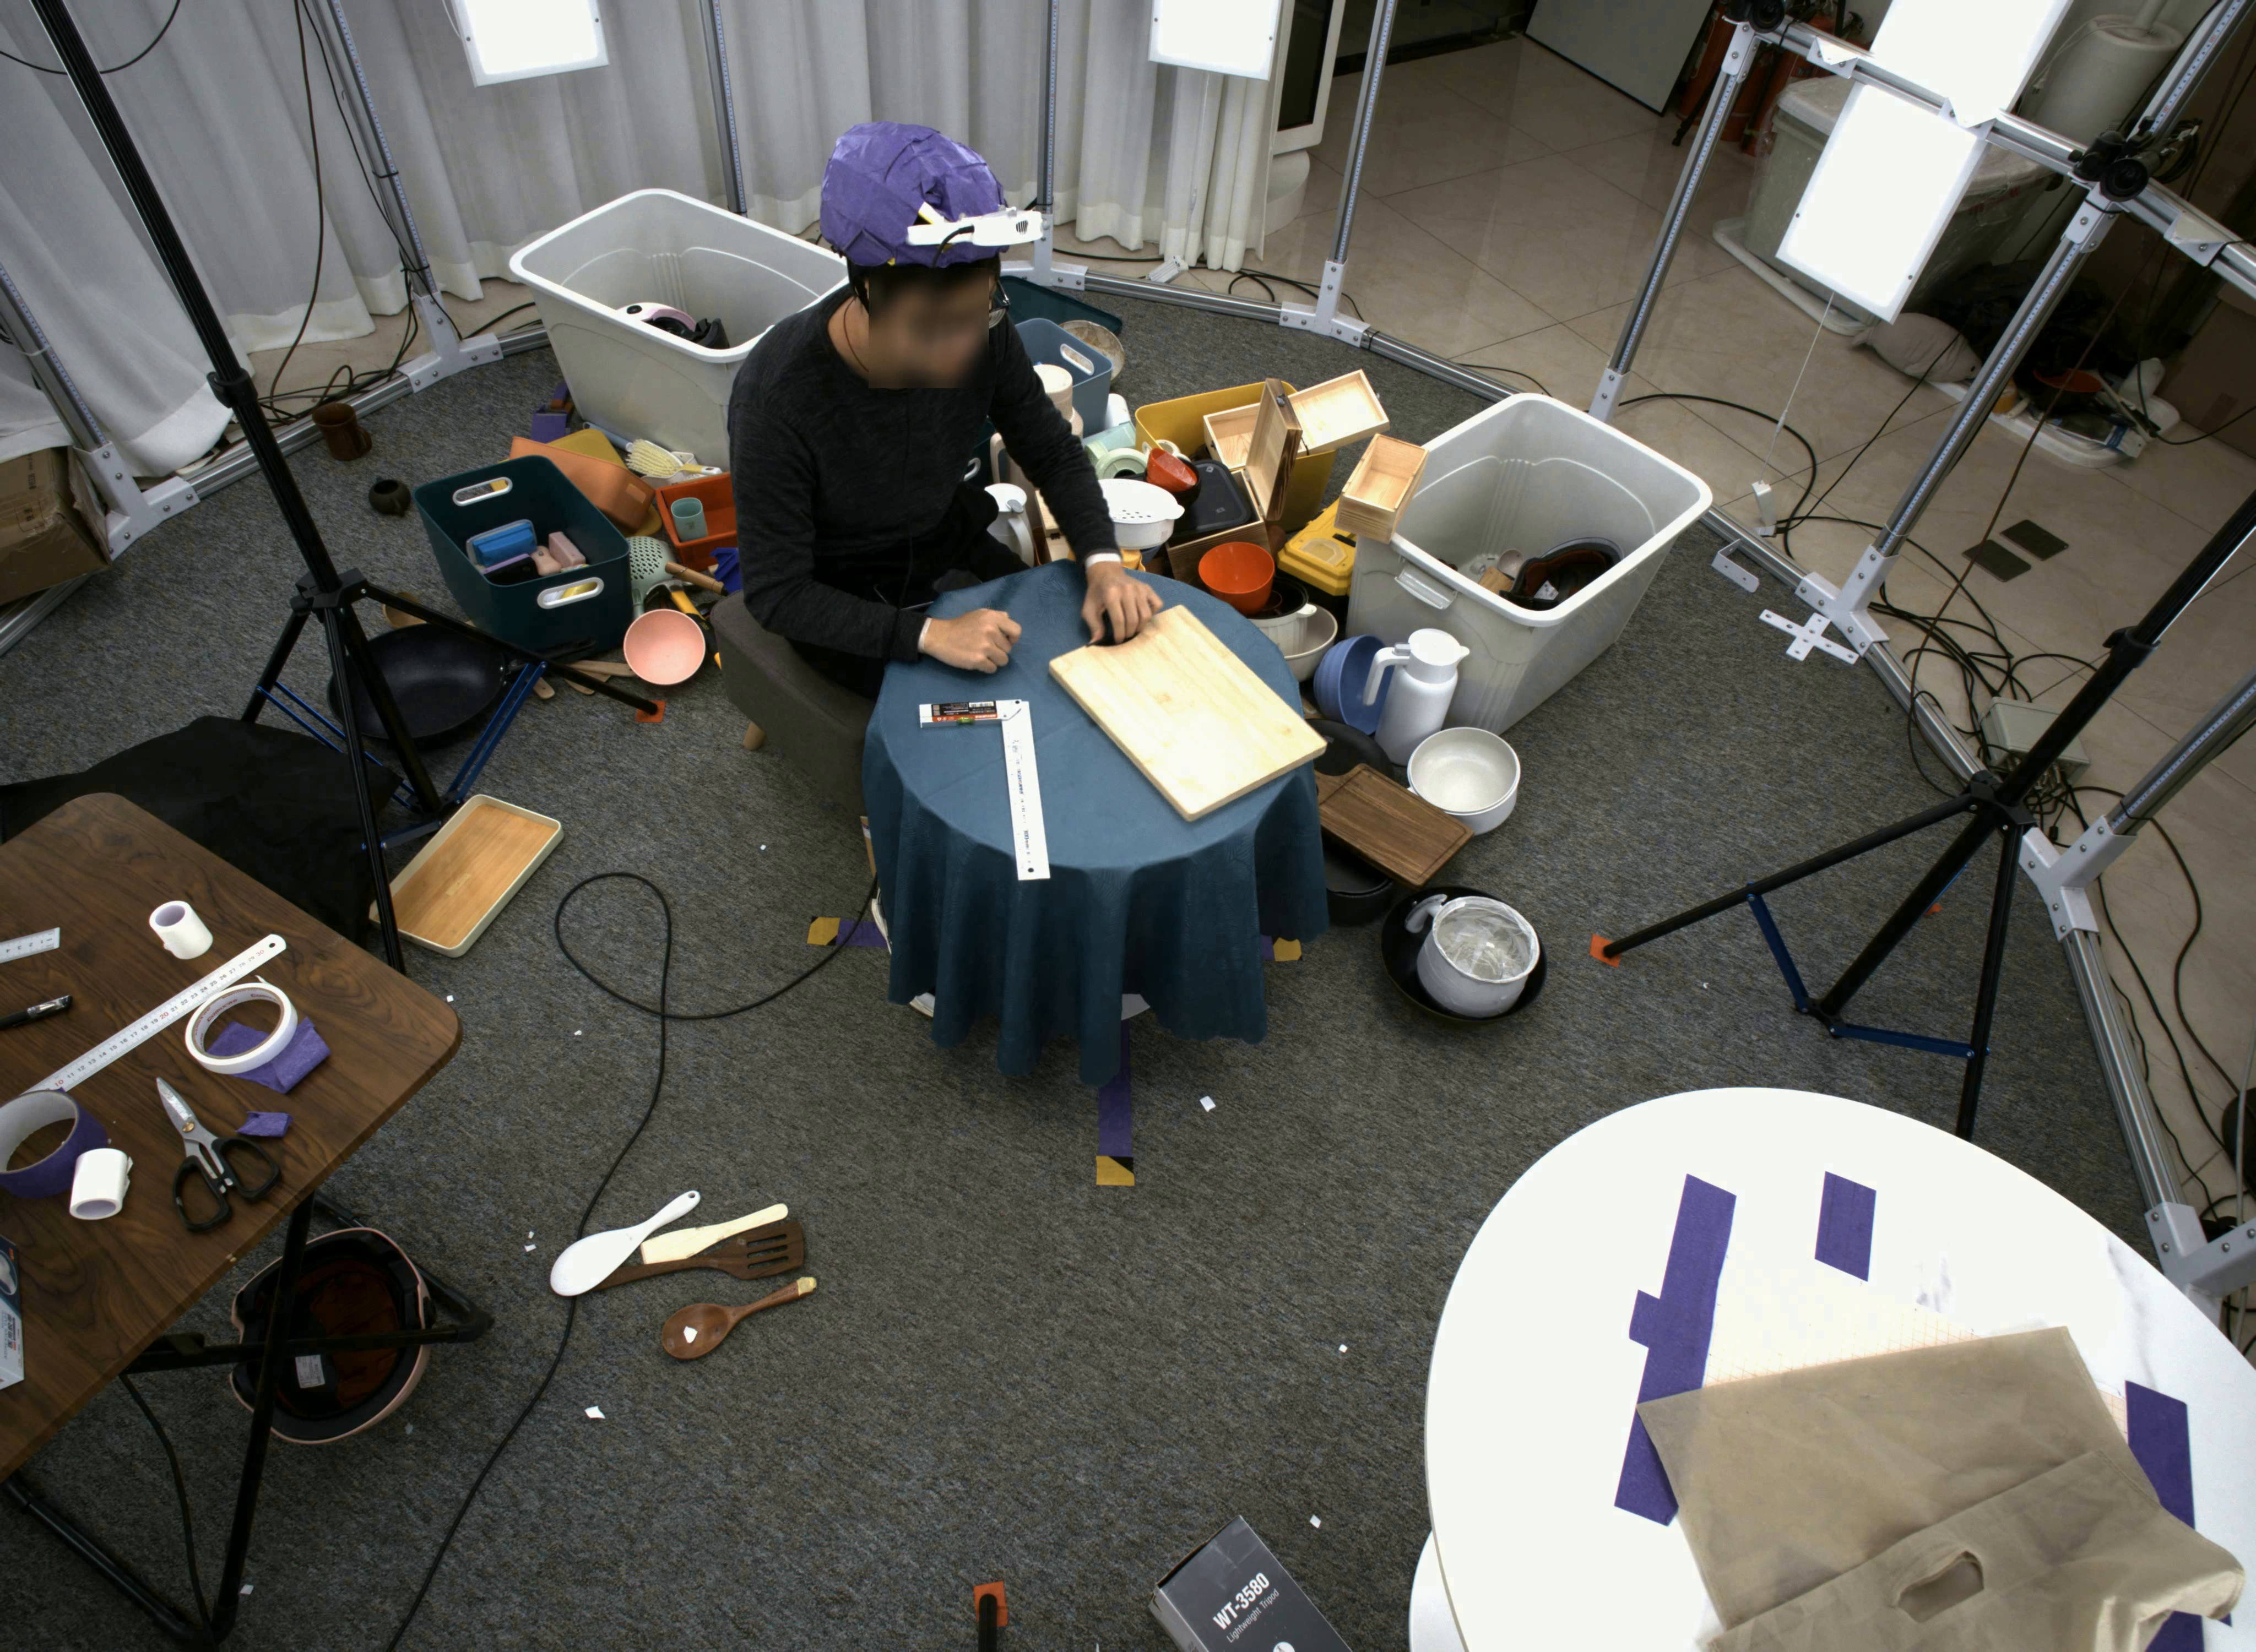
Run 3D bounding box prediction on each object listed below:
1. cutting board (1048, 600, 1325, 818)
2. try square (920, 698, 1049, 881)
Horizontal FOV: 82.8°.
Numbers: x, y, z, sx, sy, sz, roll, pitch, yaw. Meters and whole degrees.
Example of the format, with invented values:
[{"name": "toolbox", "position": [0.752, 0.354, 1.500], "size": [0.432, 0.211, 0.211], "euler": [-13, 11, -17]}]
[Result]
[{"name": "cutting board", "position": [0.077, -0.174, 1.816], "size": [0.252, 0.023, 0.355], "euler": [-26, 56, -24]}, {"name": "try square", "position": [-0.193, -0.051, 1.698], "size": [0.152, 0.015, 0.321], "euler": [-5, 51, -5]}]
